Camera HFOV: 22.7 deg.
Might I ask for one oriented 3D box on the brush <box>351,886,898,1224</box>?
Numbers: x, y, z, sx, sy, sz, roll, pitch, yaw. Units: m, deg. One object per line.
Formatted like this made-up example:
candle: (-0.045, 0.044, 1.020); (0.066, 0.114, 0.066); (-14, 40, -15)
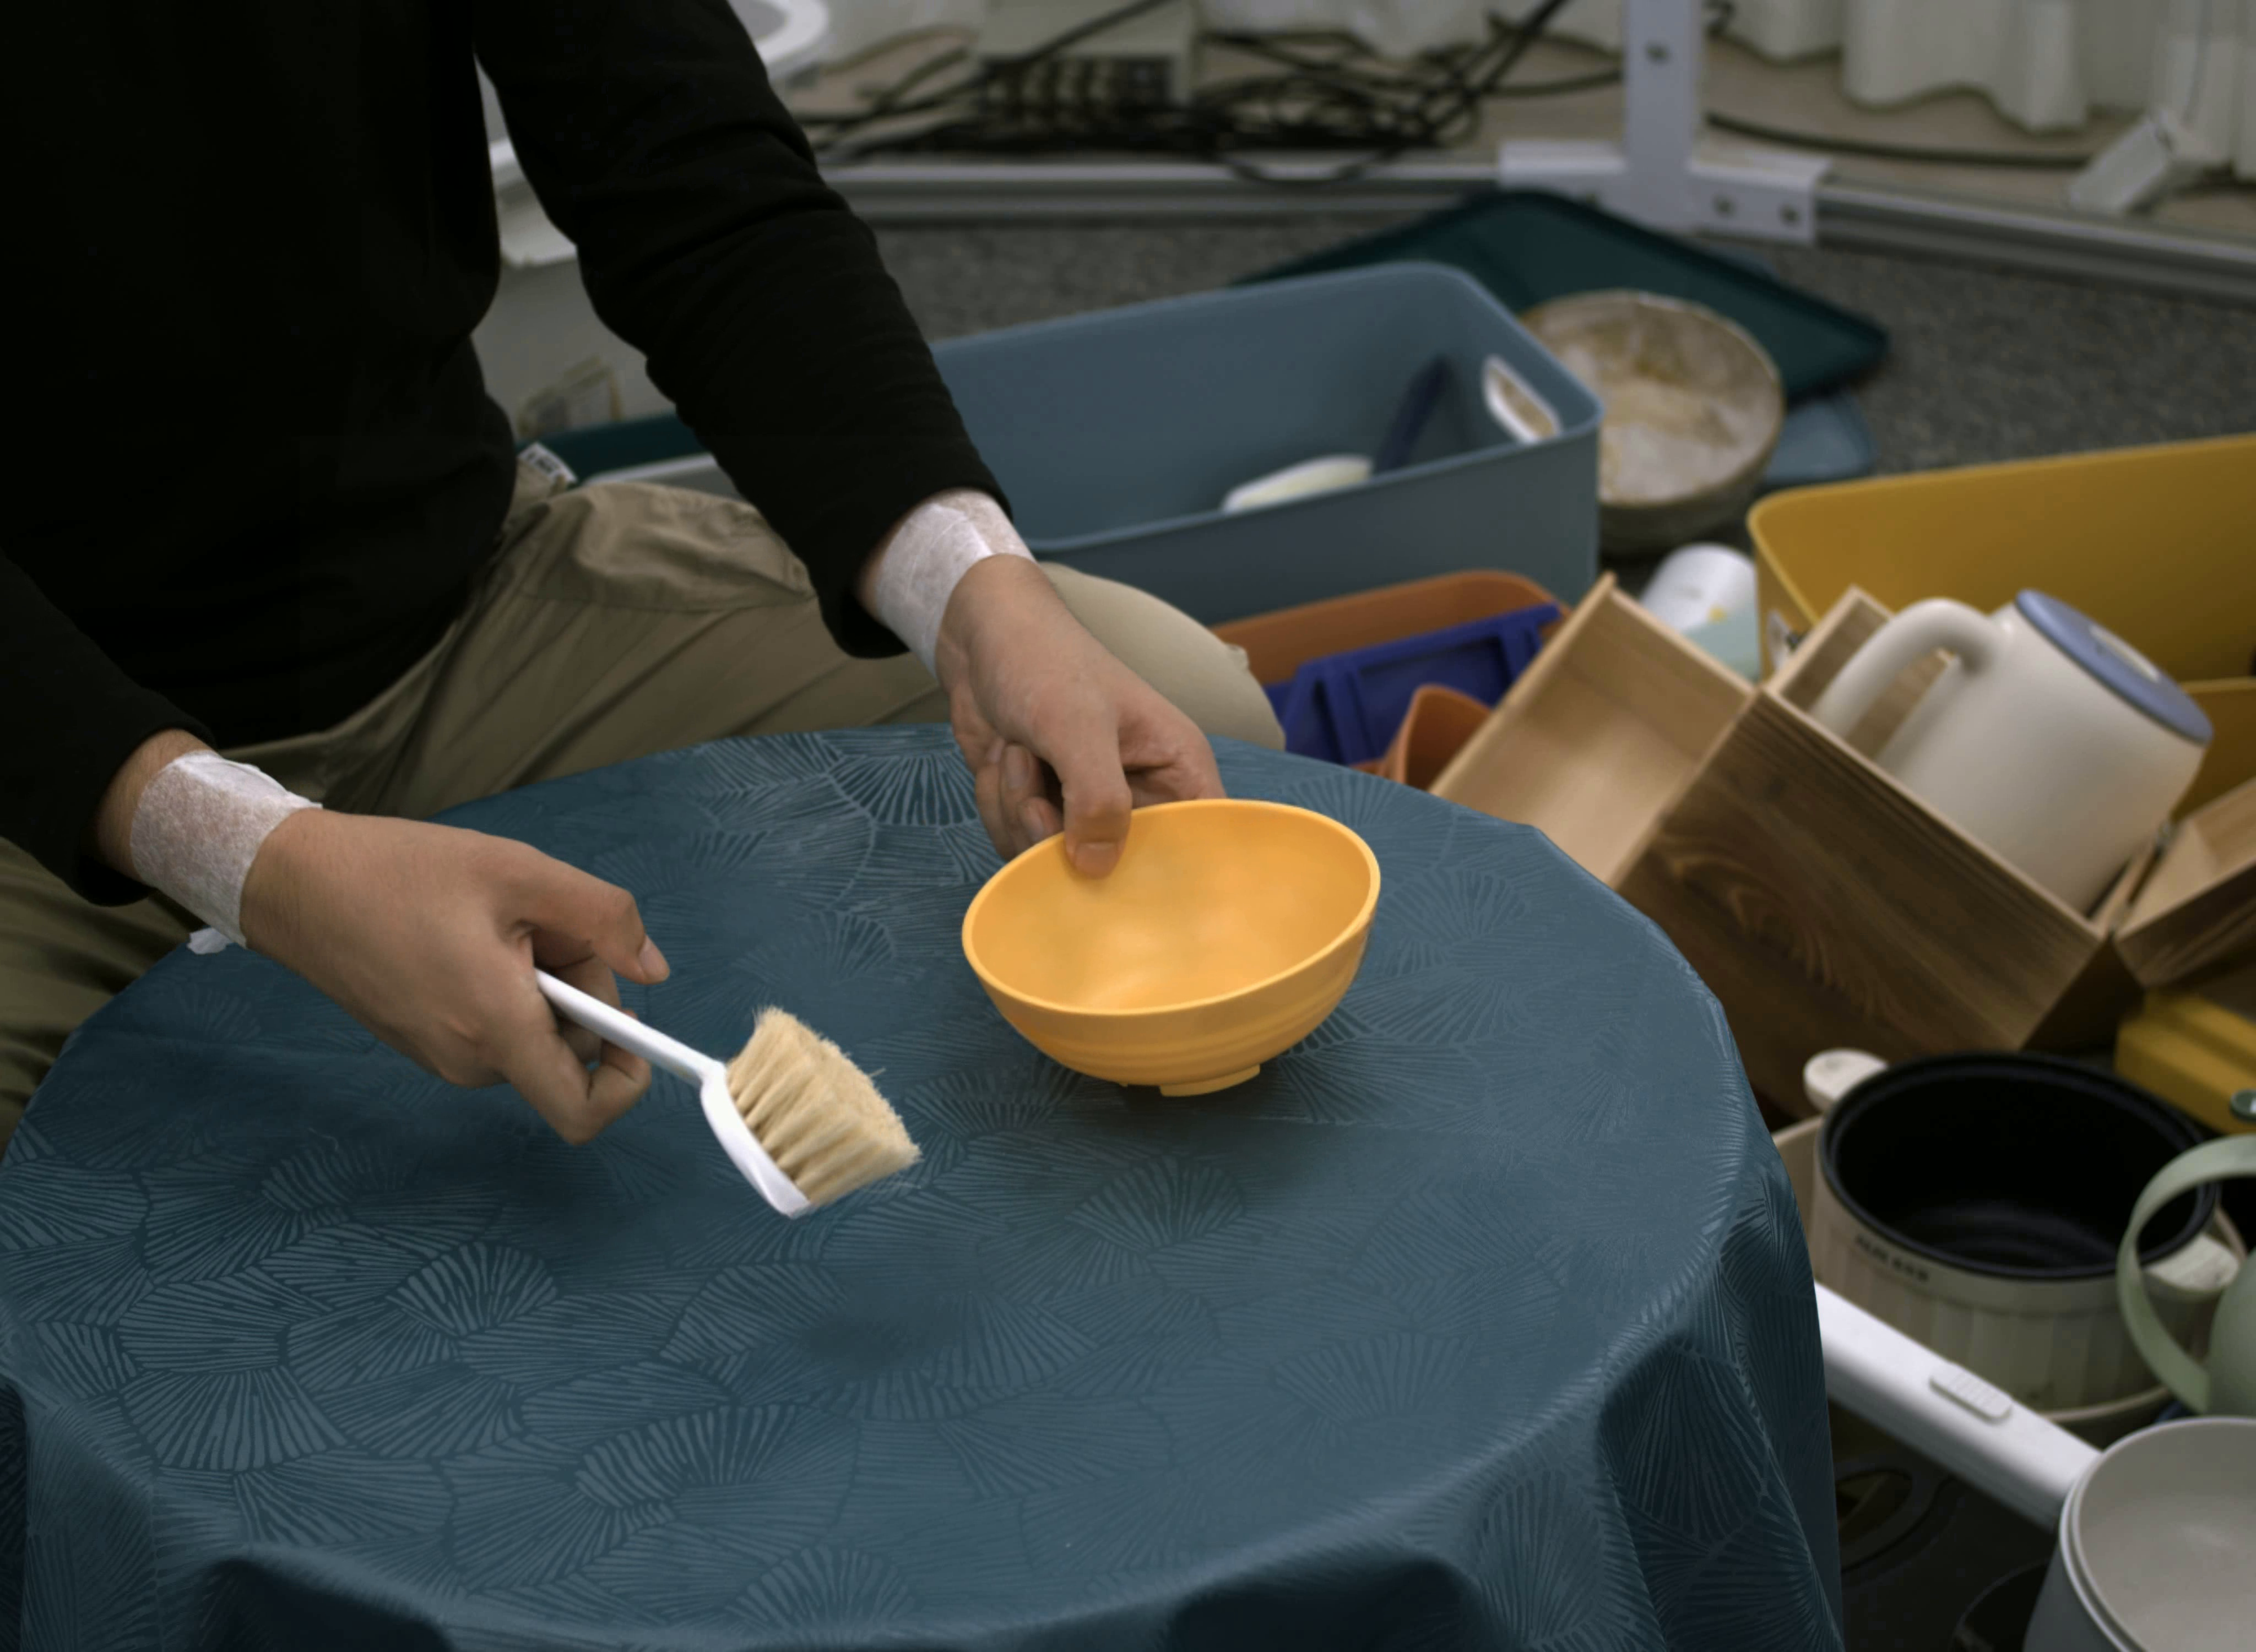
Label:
brush: (-0.167, 0.054, 1.832); (0.056, 0.068, 0.267); (-49, 42, -11)

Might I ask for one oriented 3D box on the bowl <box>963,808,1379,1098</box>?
bowl: (0.018, 0.052, 1.924); (0.144, 0.059, 0.147); (-7, 26, 4)
